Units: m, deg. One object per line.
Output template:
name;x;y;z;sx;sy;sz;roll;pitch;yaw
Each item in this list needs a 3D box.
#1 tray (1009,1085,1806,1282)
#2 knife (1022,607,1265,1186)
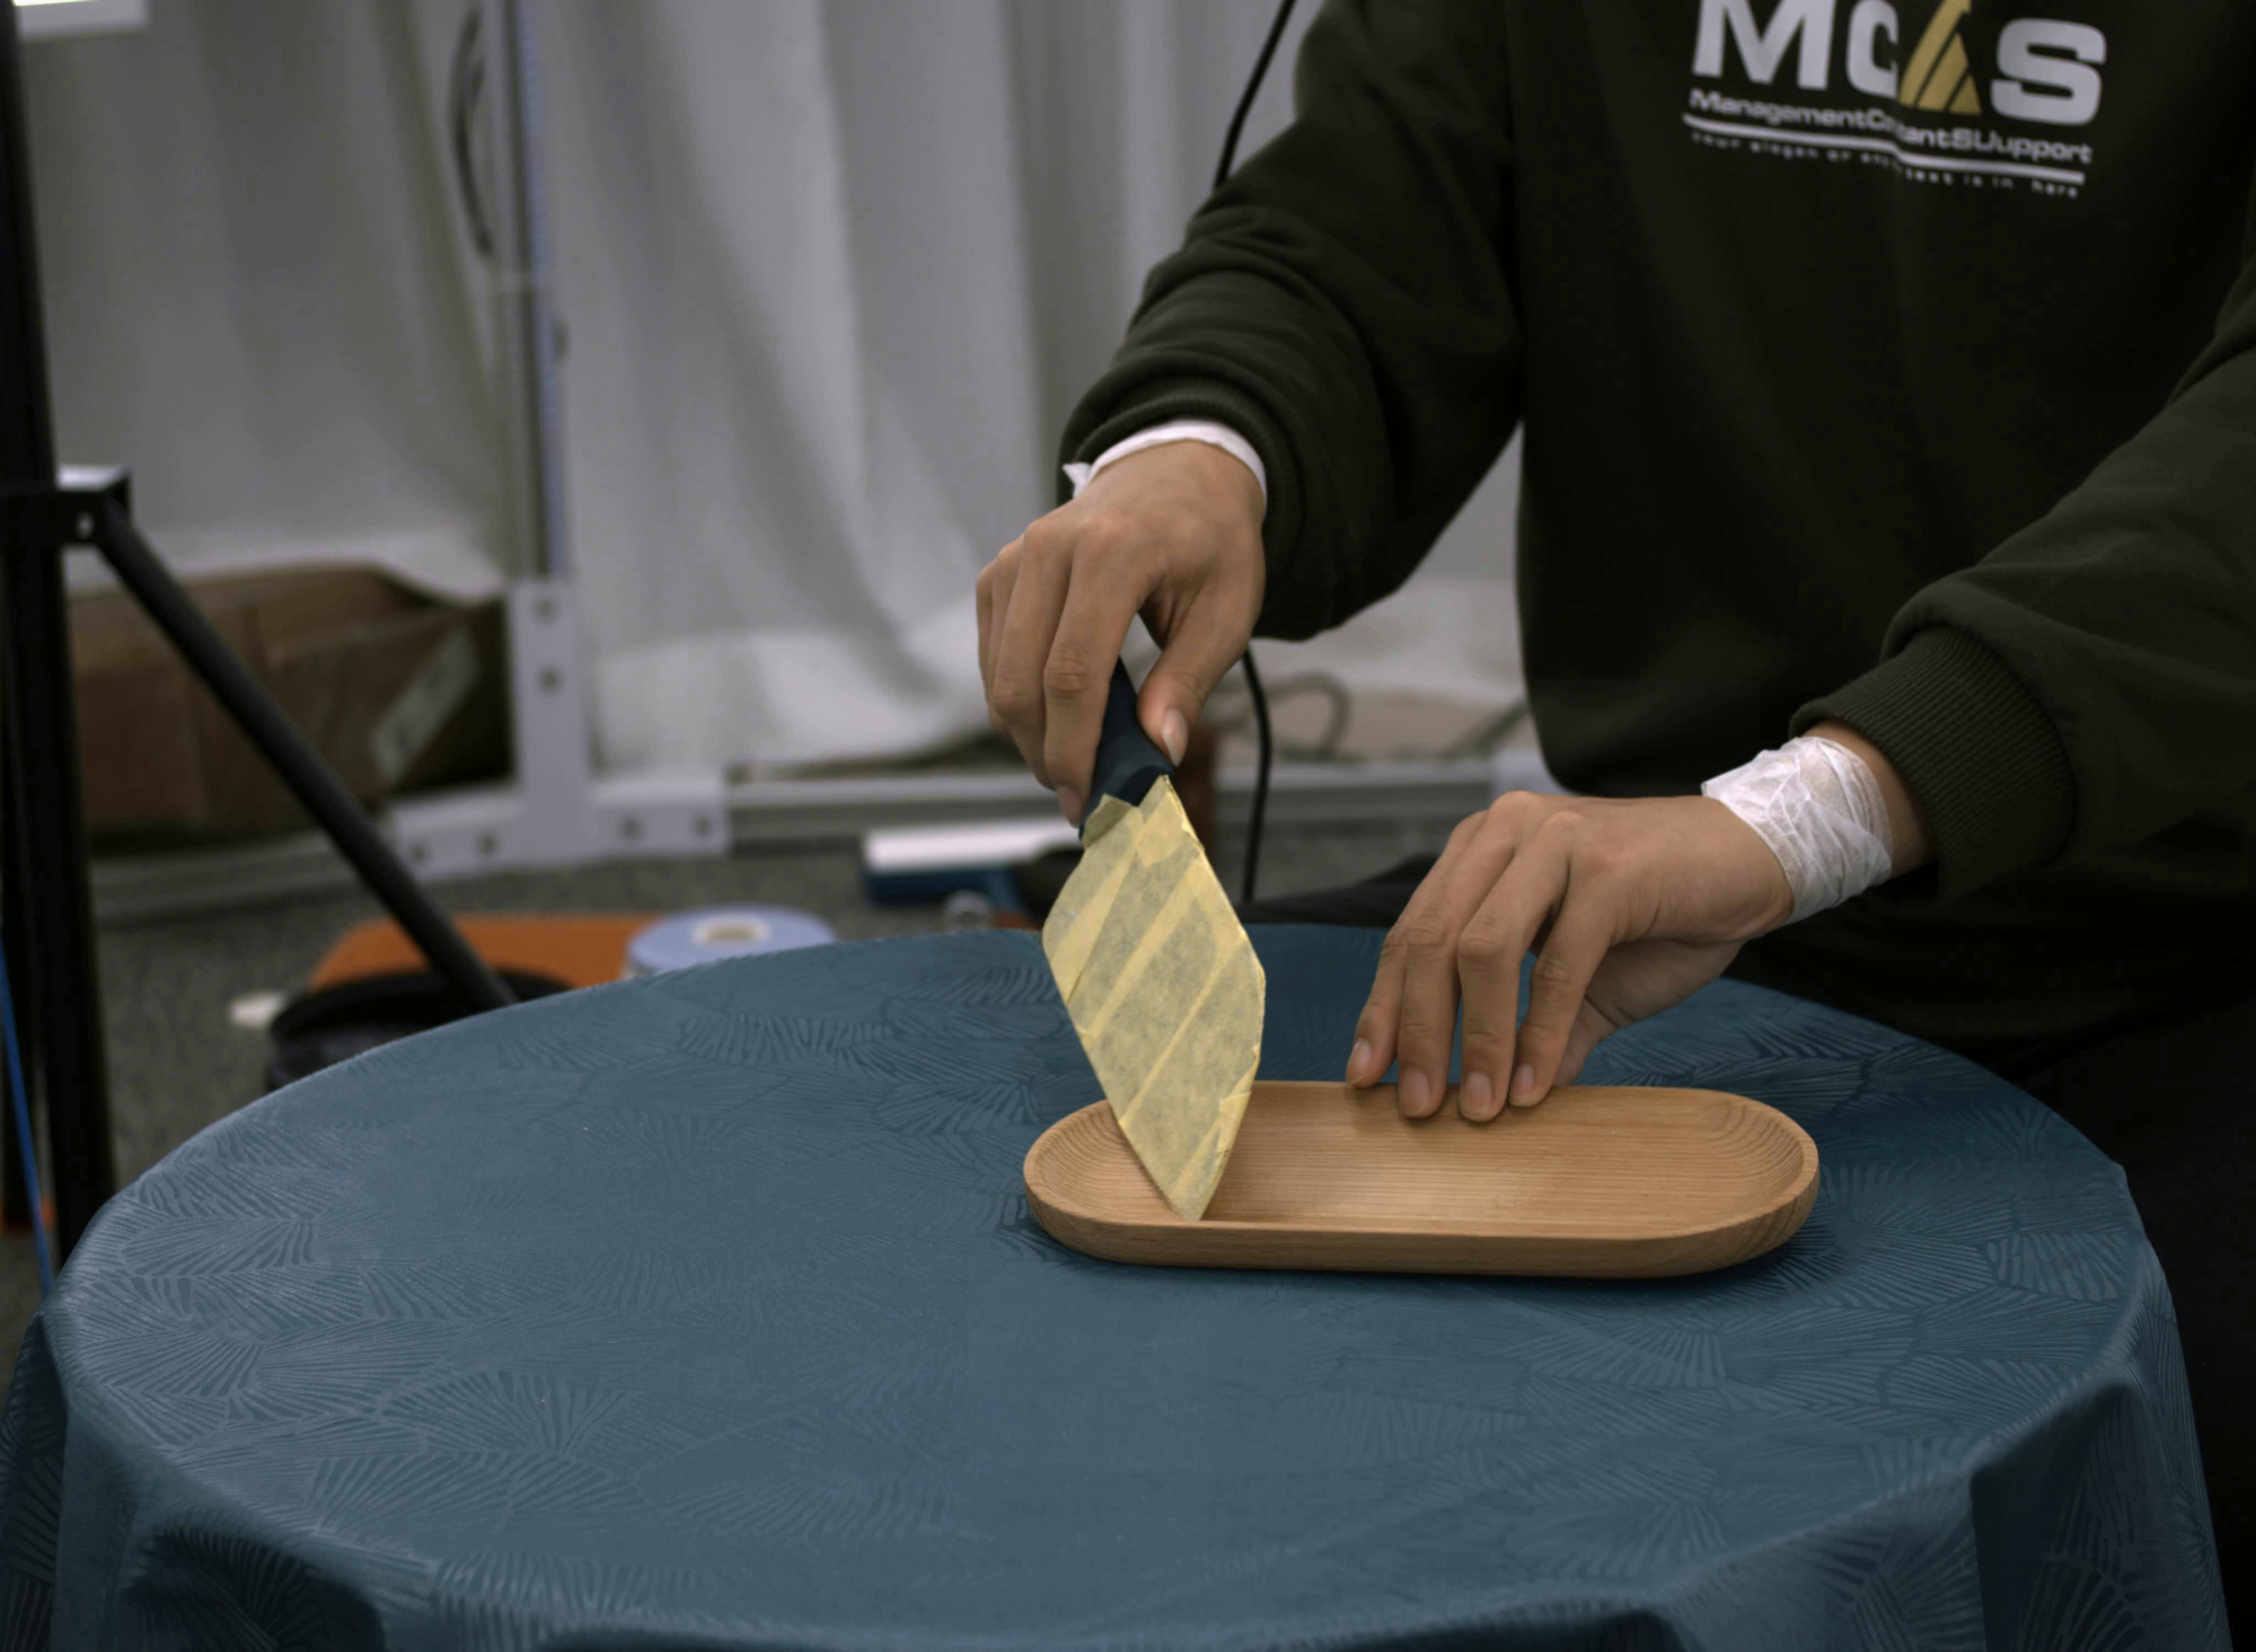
tray;0.079;0.103;1.521;0.233;0.020;0.101;-1;20;16
knife;-0.003;0.018;1.622;0.026;0.081;0.294;26;23;-26
